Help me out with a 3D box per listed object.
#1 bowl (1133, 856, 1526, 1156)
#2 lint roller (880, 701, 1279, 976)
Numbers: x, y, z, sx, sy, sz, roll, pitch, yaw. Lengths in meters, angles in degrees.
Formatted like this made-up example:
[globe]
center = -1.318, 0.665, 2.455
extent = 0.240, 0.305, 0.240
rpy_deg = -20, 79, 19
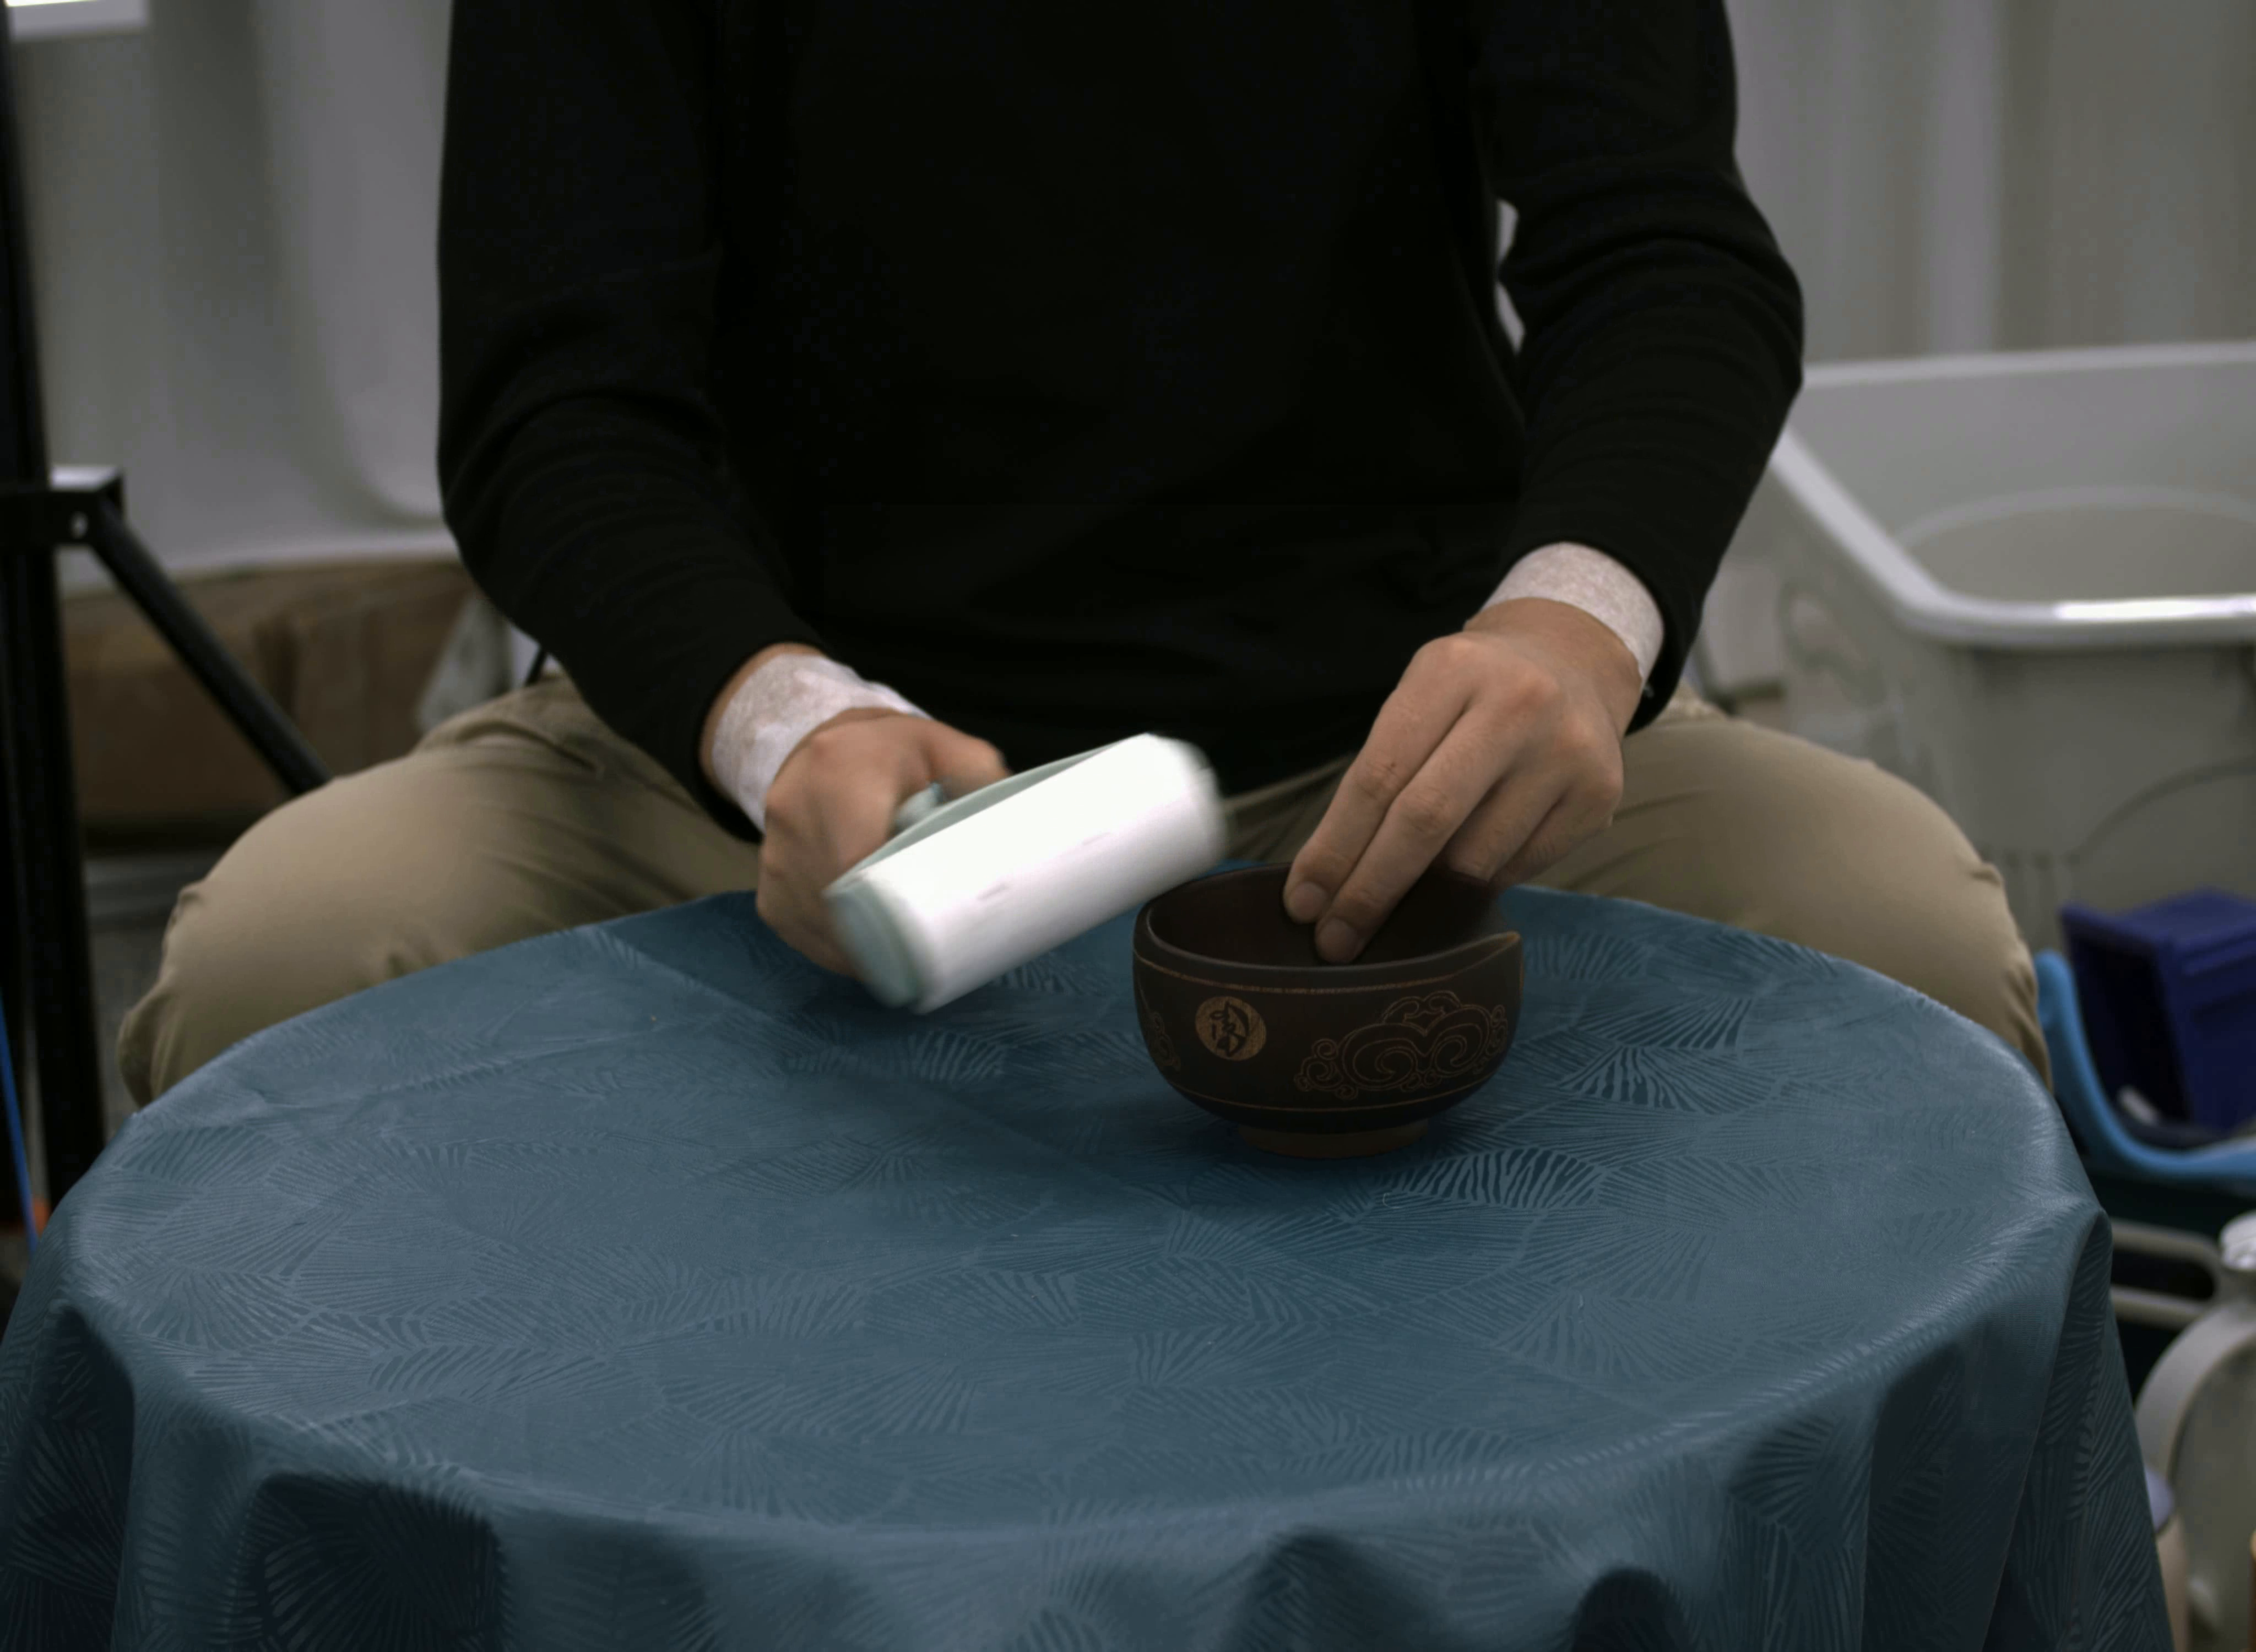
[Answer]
[bowl]
center = 0.061, 0.058, 1.593
extent = 0.117, 0.070, 0.118
rpy_deg = -3, 15, -1
[lint roller]
center = -0.038, 0.005, 1.673
extent = 0.115, 0.048, 0.200
rpy_deg = -28, 10, -20
